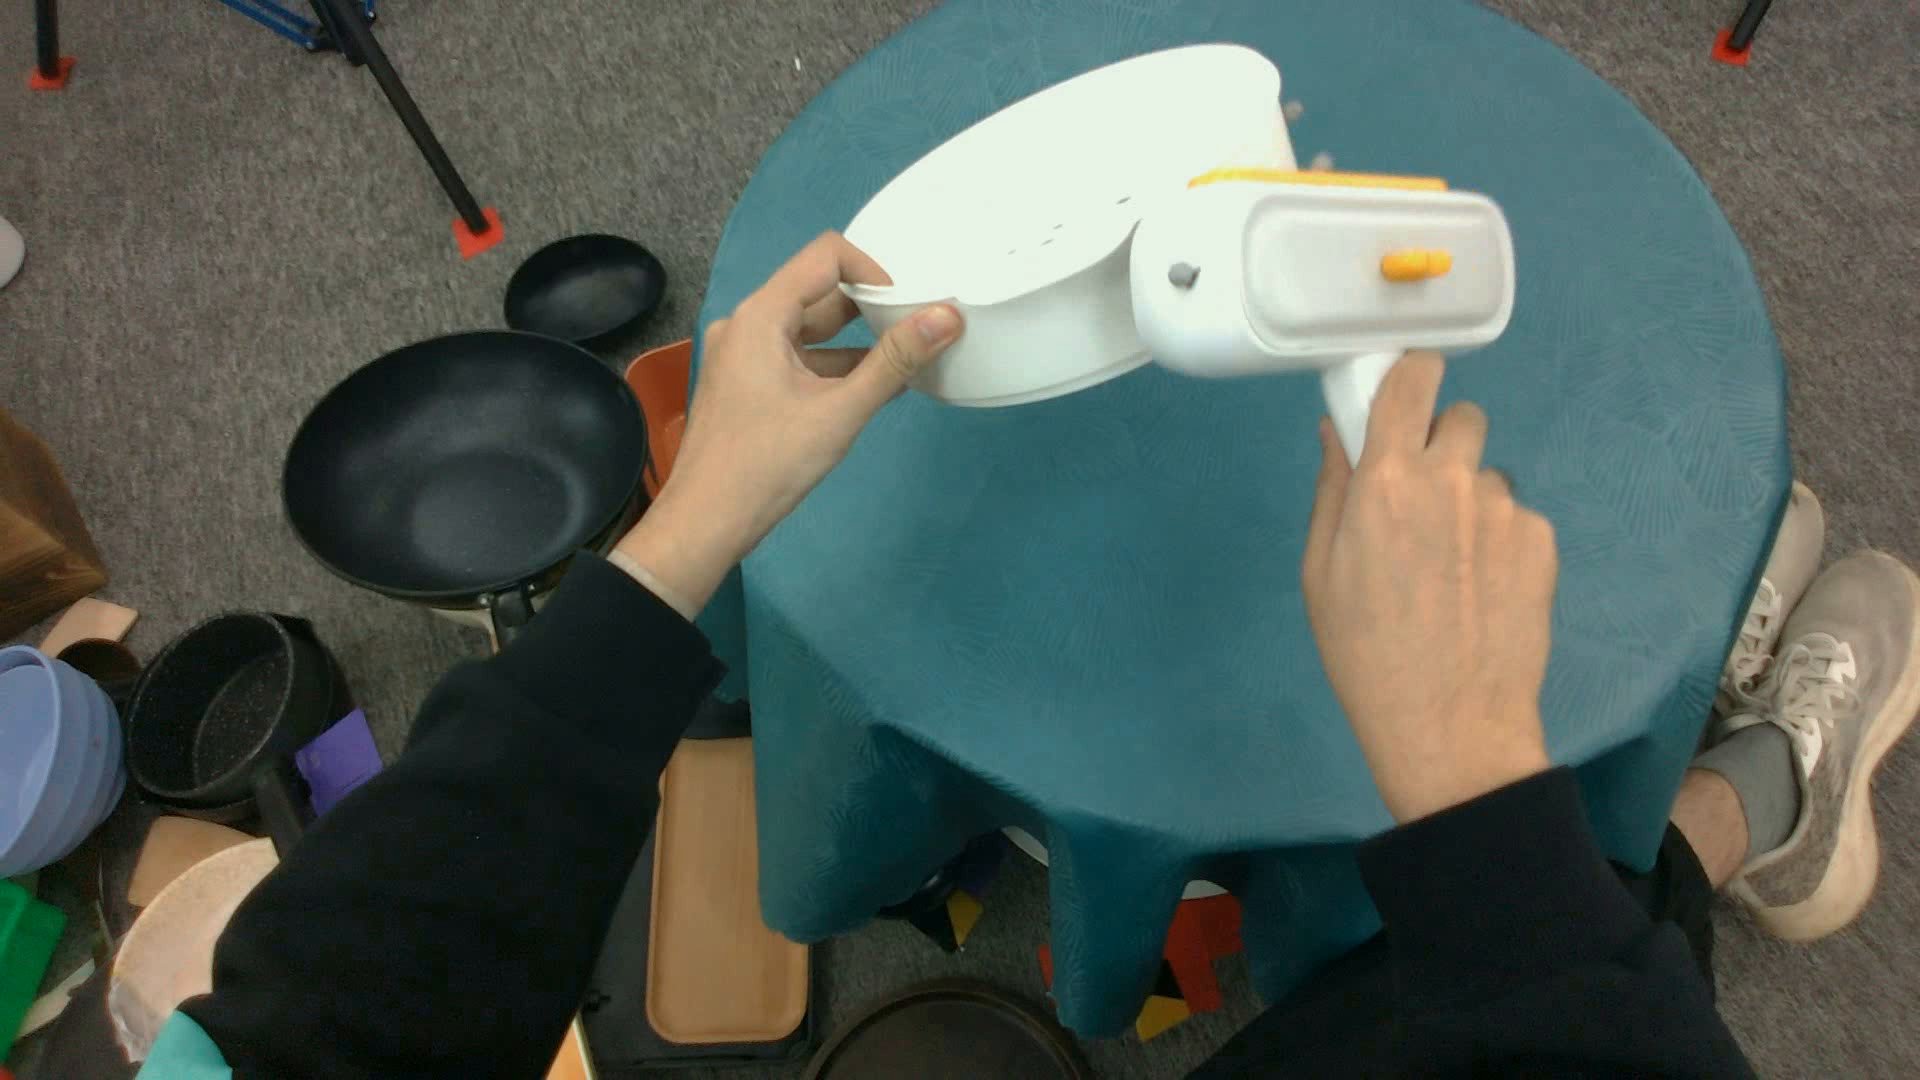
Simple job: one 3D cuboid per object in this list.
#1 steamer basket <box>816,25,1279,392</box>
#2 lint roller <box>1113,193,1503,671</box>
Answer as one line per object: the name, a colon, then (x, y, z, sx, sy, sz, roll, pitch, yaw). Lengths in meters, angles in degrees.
steamer basket: (0.039, -0.148, 0.613, 0.201, 0.069, 0.231, -18, 37, 14)
lint roller: (0.153, -0.041, 0.528, 0.193, 0.074, 0.192, -12, 87, -46)
